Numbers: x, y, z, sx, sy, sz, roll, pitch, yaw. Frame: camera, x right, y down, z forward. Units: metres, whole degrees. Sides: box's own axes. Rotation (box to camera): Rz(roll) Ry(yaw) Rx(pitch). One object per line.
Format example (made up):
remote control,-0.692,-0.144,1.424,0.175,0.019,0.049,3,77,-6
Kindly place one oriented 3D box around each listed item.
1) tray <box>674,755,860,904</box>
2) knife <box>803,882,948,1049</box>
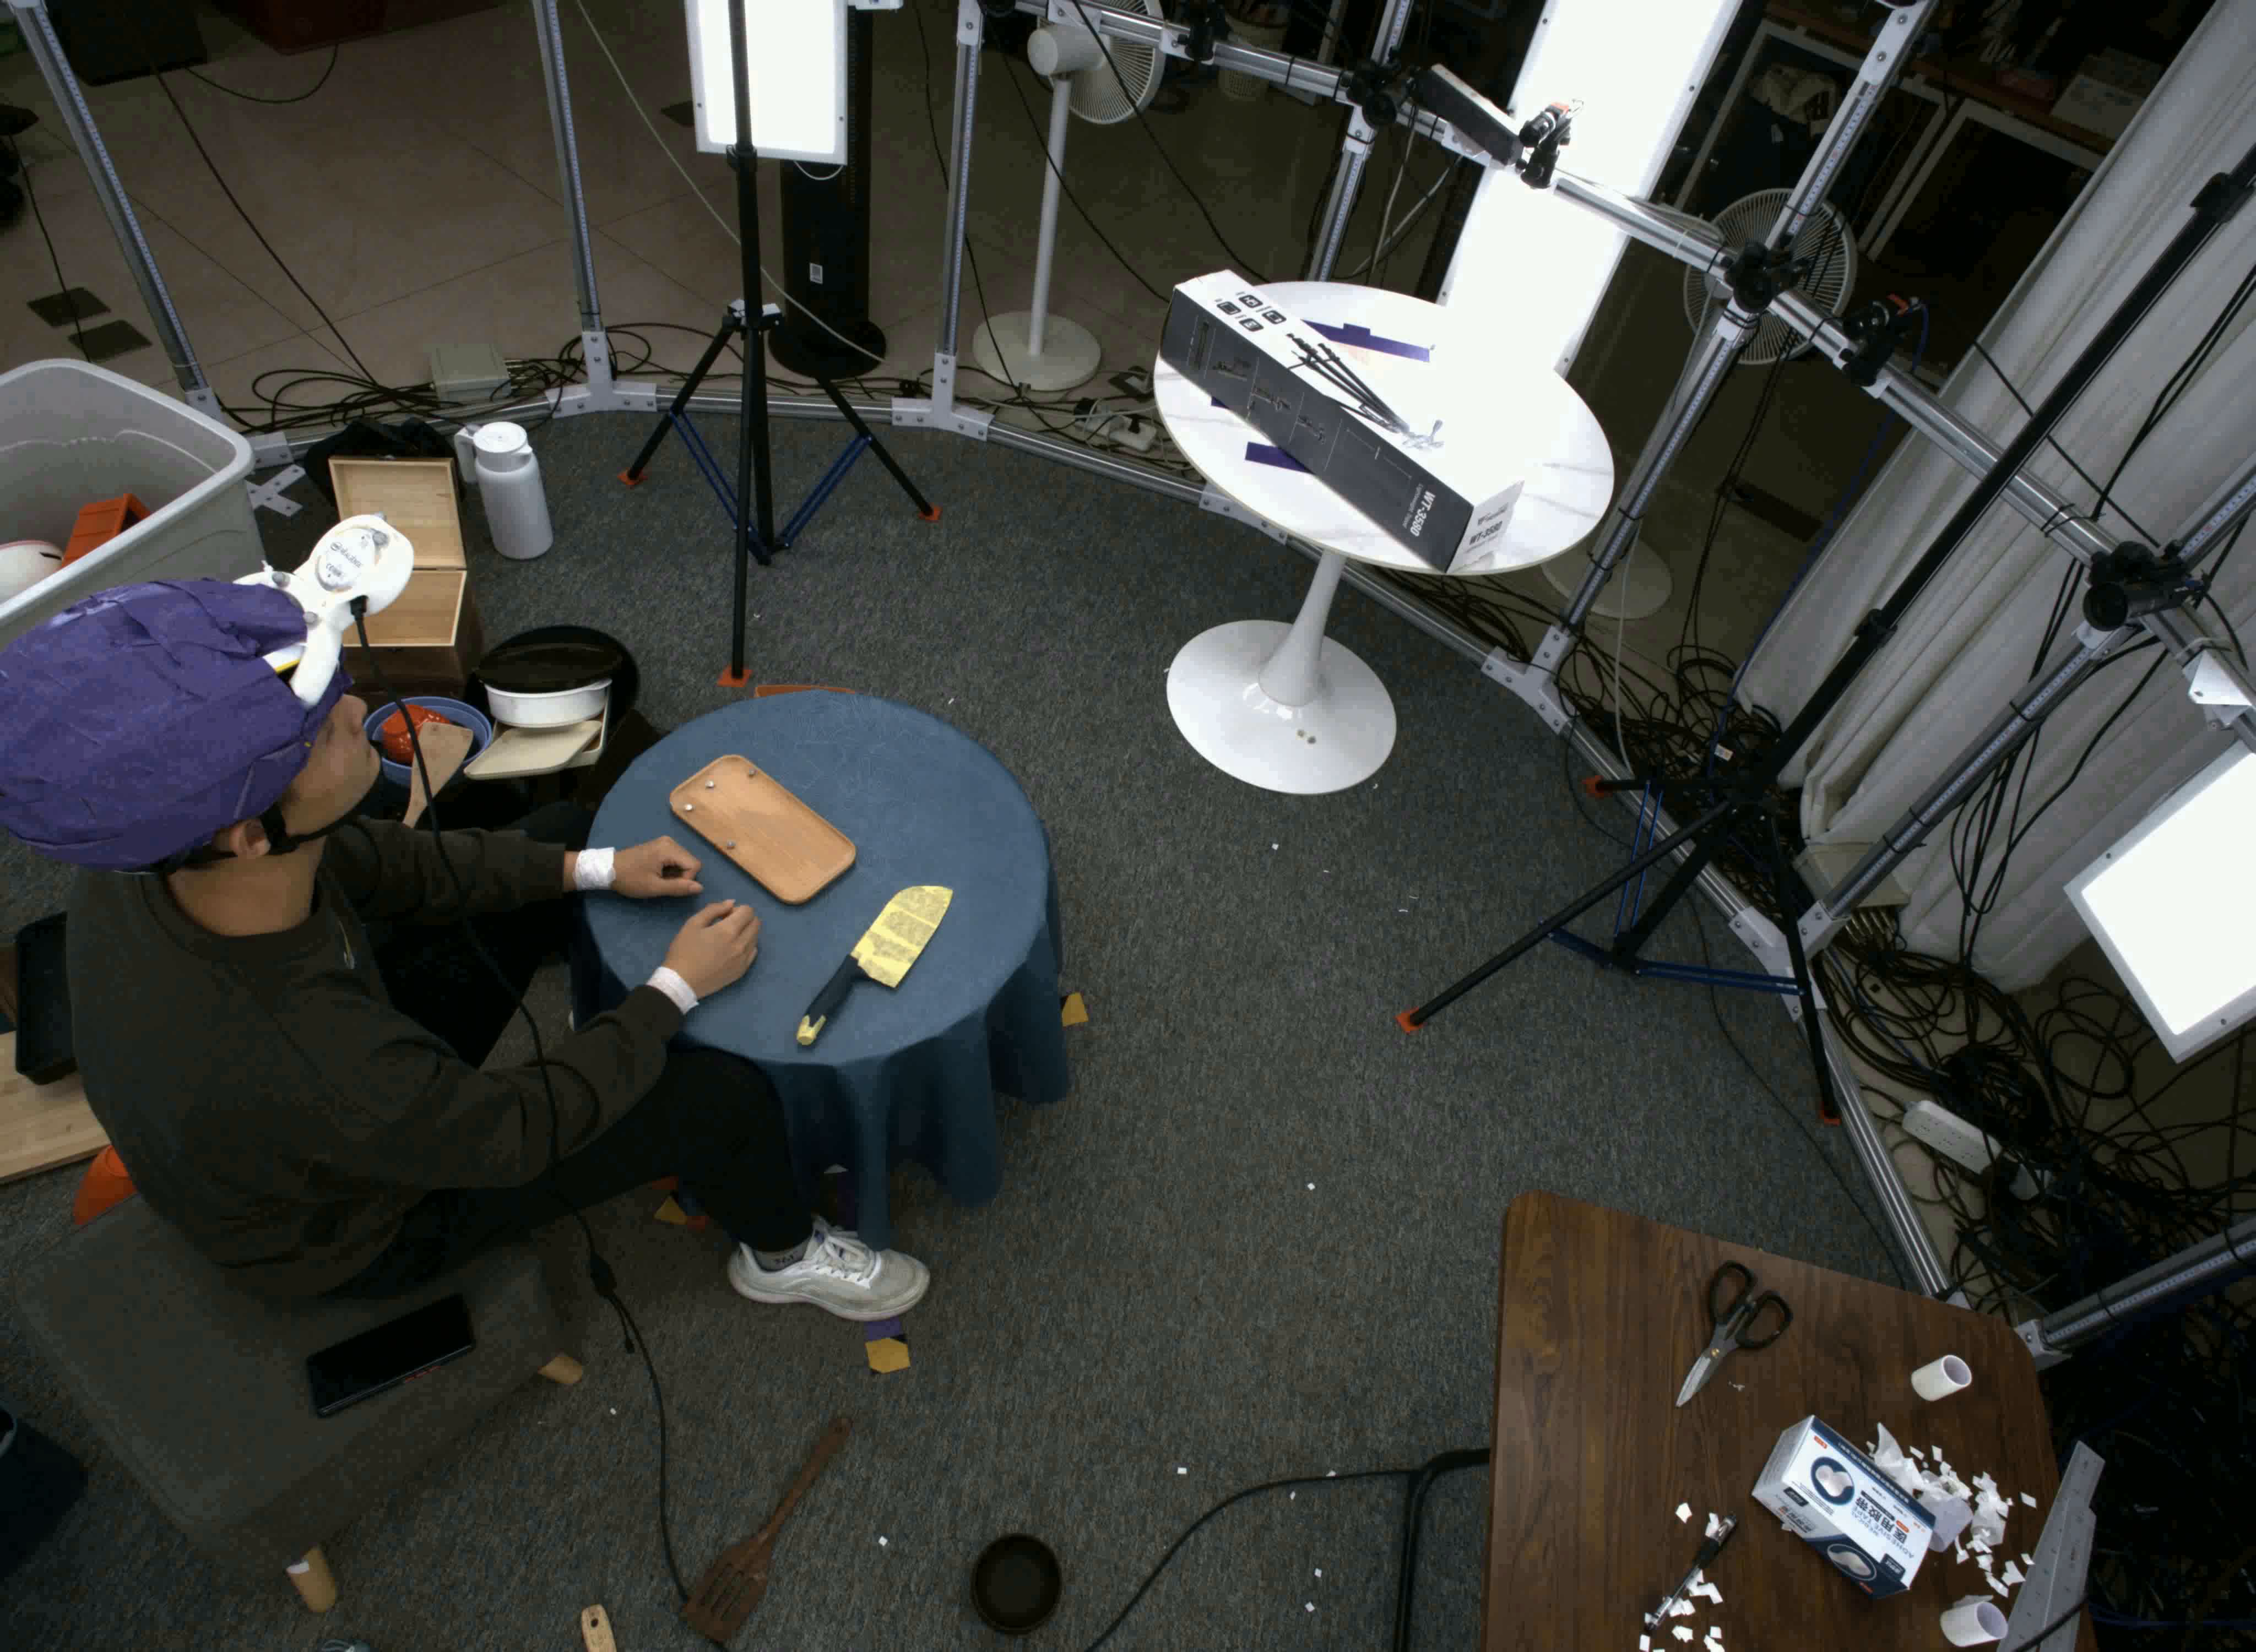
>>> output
tray,-0.478,0.002,1.710,0.246,0.023,0.130,36,57,13
knife,-0.311,0.168,1.630,0.079,0.028,0.288,27,51,9
